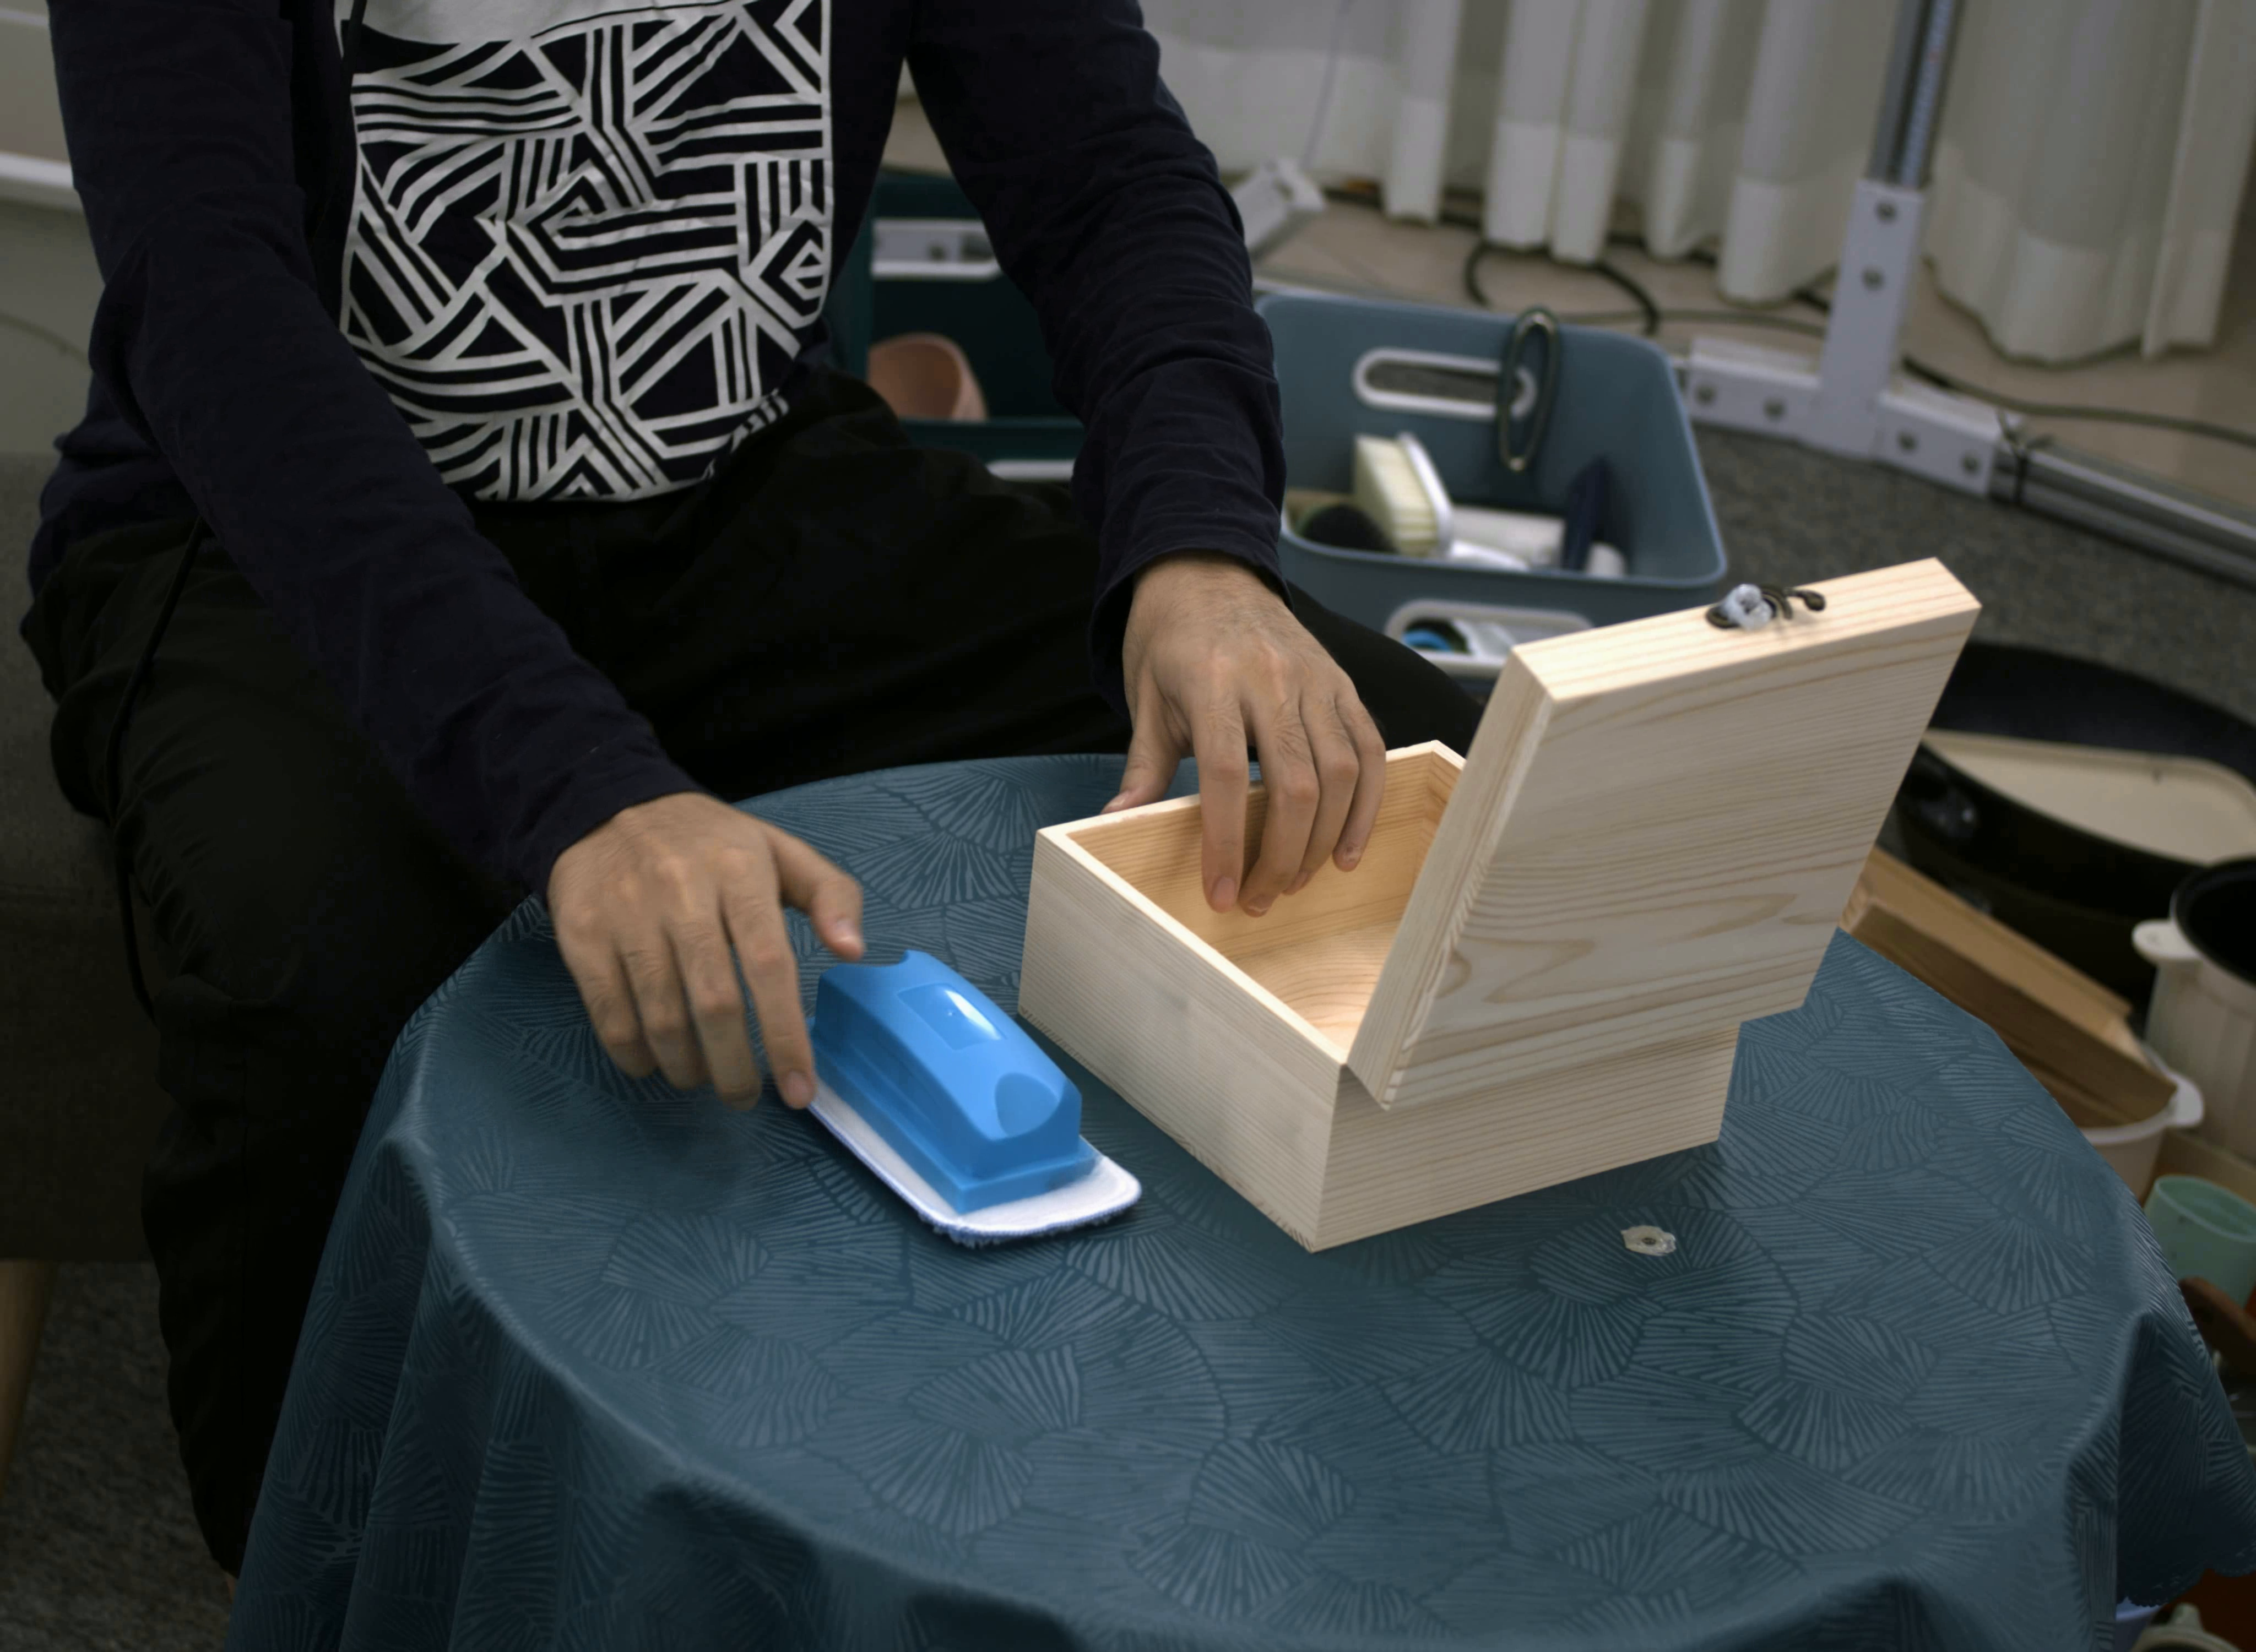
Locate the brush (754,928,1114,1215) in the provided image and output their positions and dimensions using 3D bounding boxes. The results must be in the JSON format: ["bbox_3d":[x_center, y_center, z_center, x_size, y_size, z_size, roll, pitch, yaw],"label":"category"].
[{"bbox_3d":[-0.064,0.079,1.813,0.083,0.056,0.145,-6,32,-31],"label":"brush"}]

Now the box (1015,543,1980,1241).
[{"bbox_3d":[0.115,-0.010,1.813,0.180,0.252,0.267,-13,33,-34],"label":"box"}]
